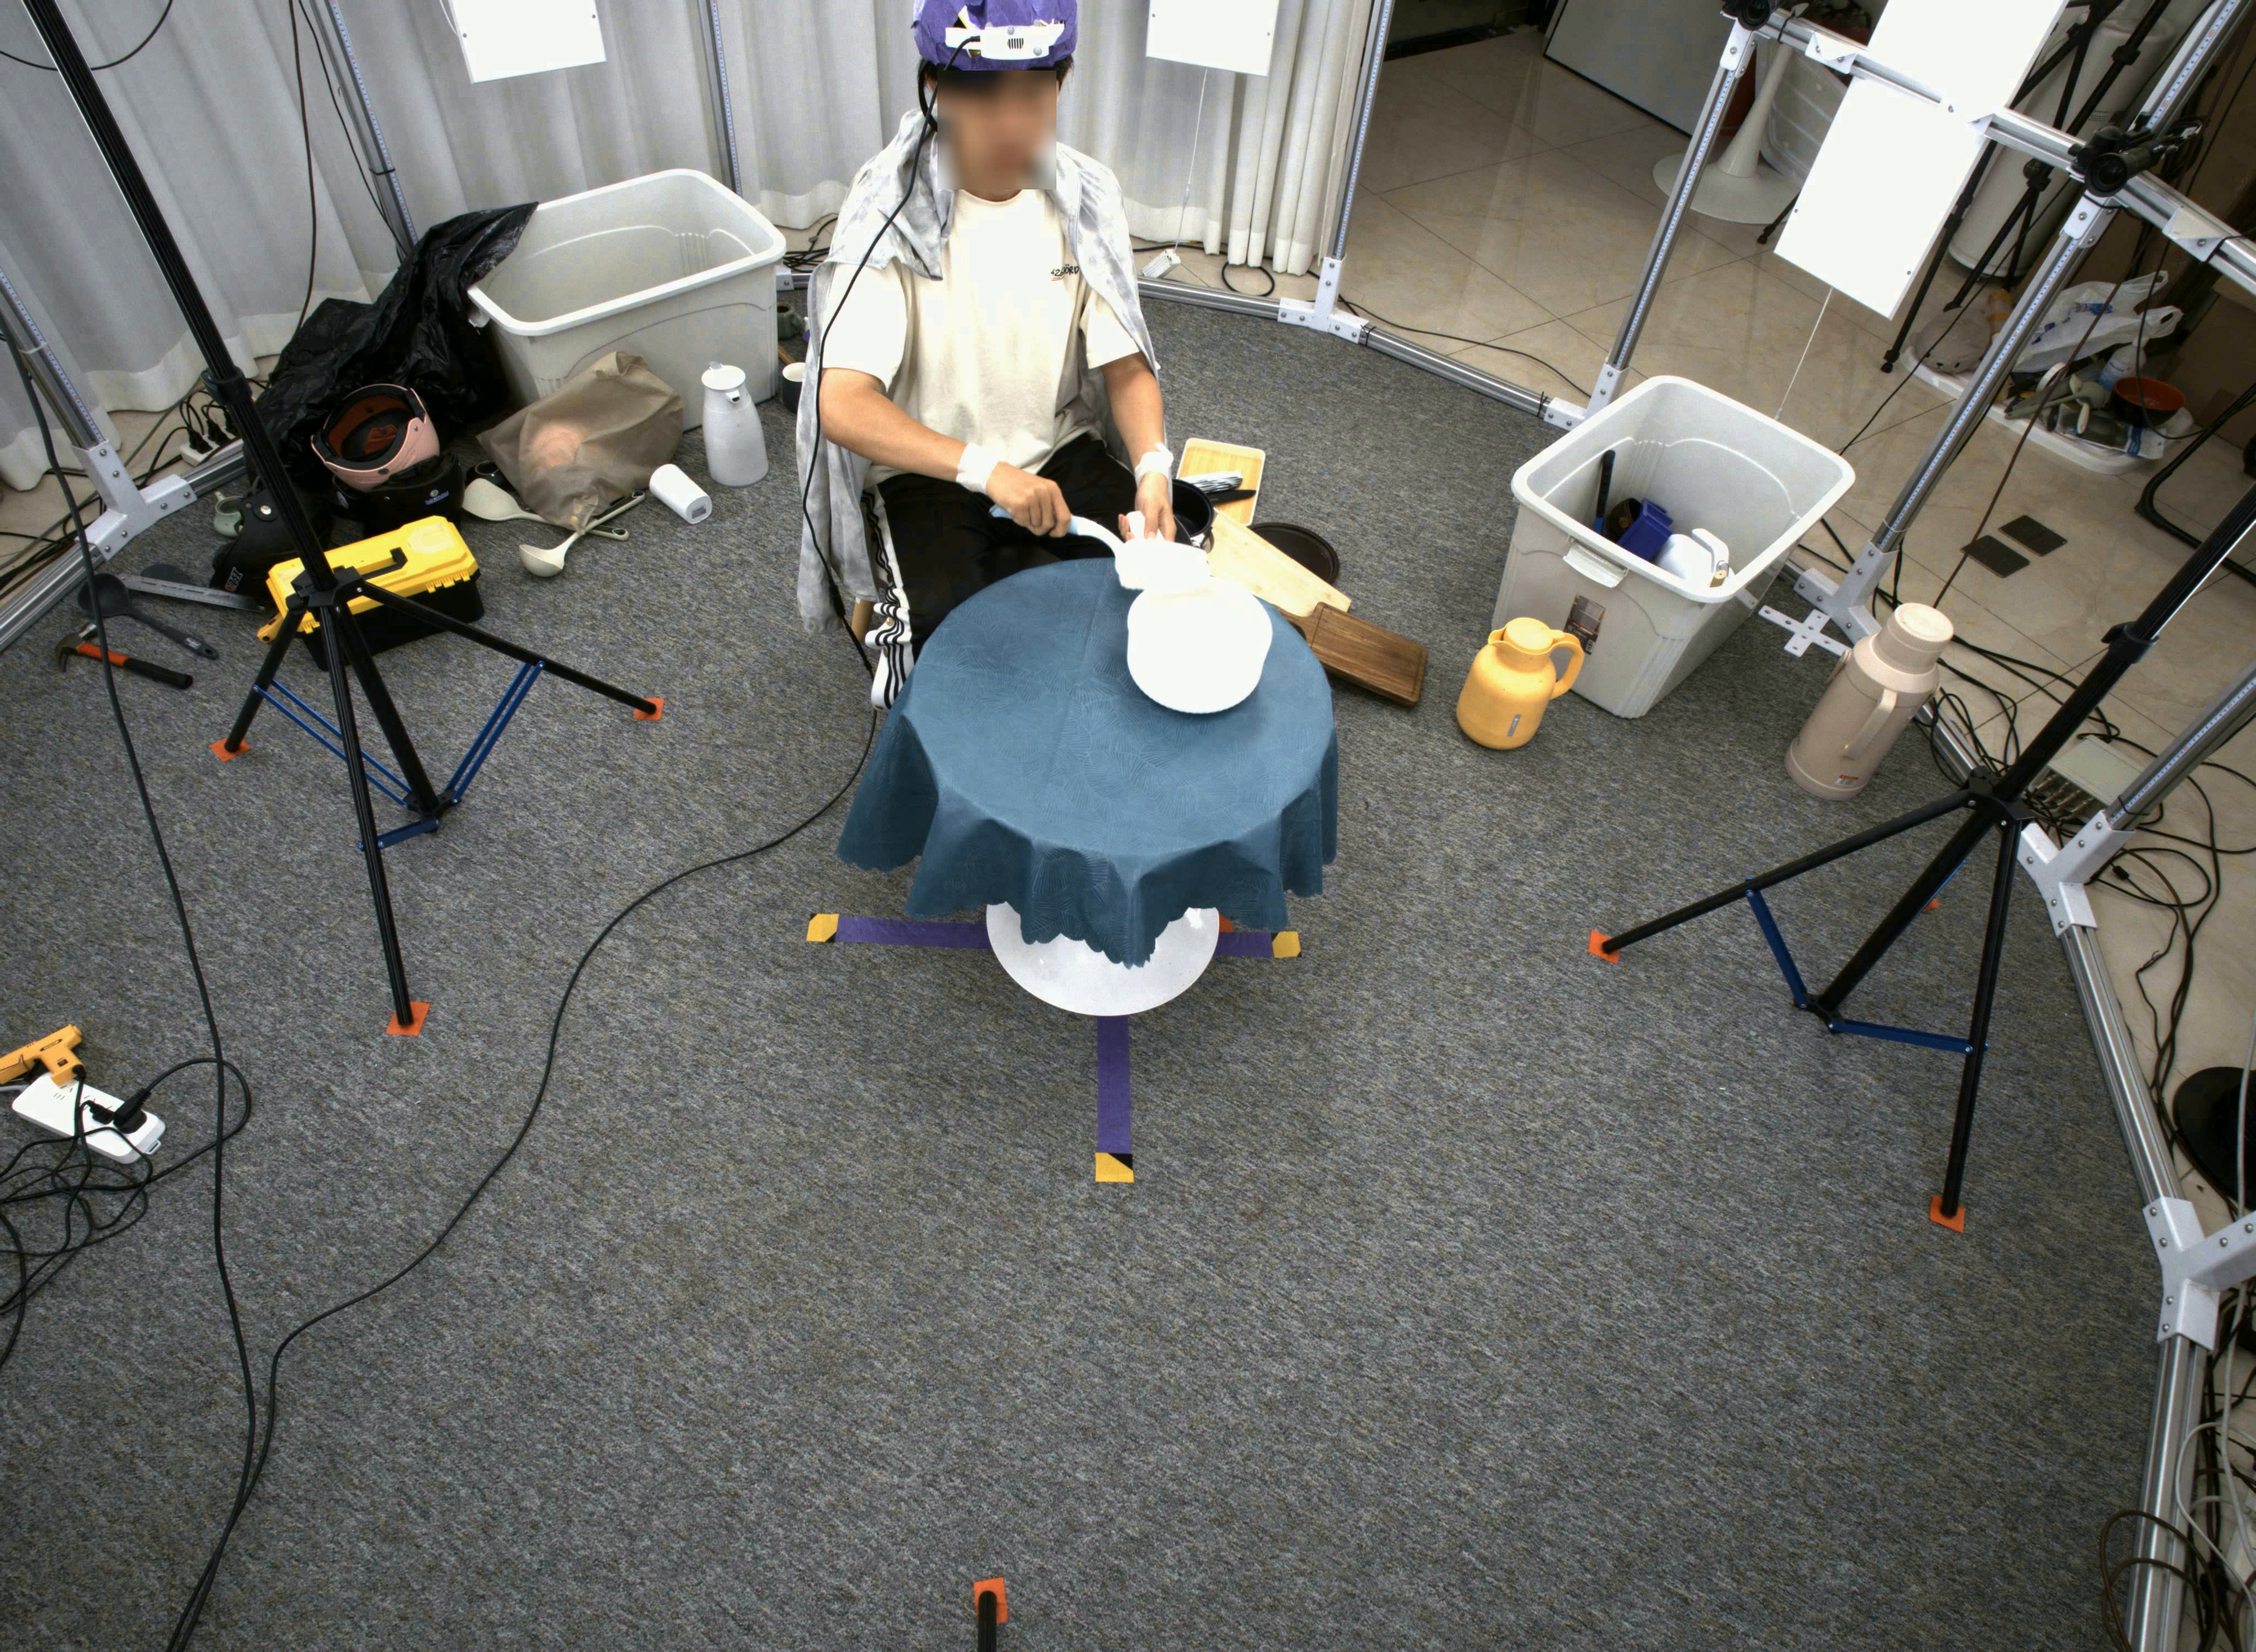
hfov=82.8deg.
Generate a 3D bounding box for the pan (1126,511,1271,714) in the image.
[{"bbox_3d":[0.071,-0.310,1.866,0.201,0.099,0.363,-14,52,-15],"label":"pan"}]

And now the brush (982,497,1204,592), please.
[{"bbox_3d":[-0.050,-0.394,1.832,0.326,0.083,0.084,15,17,8],"label":"brush"}]
